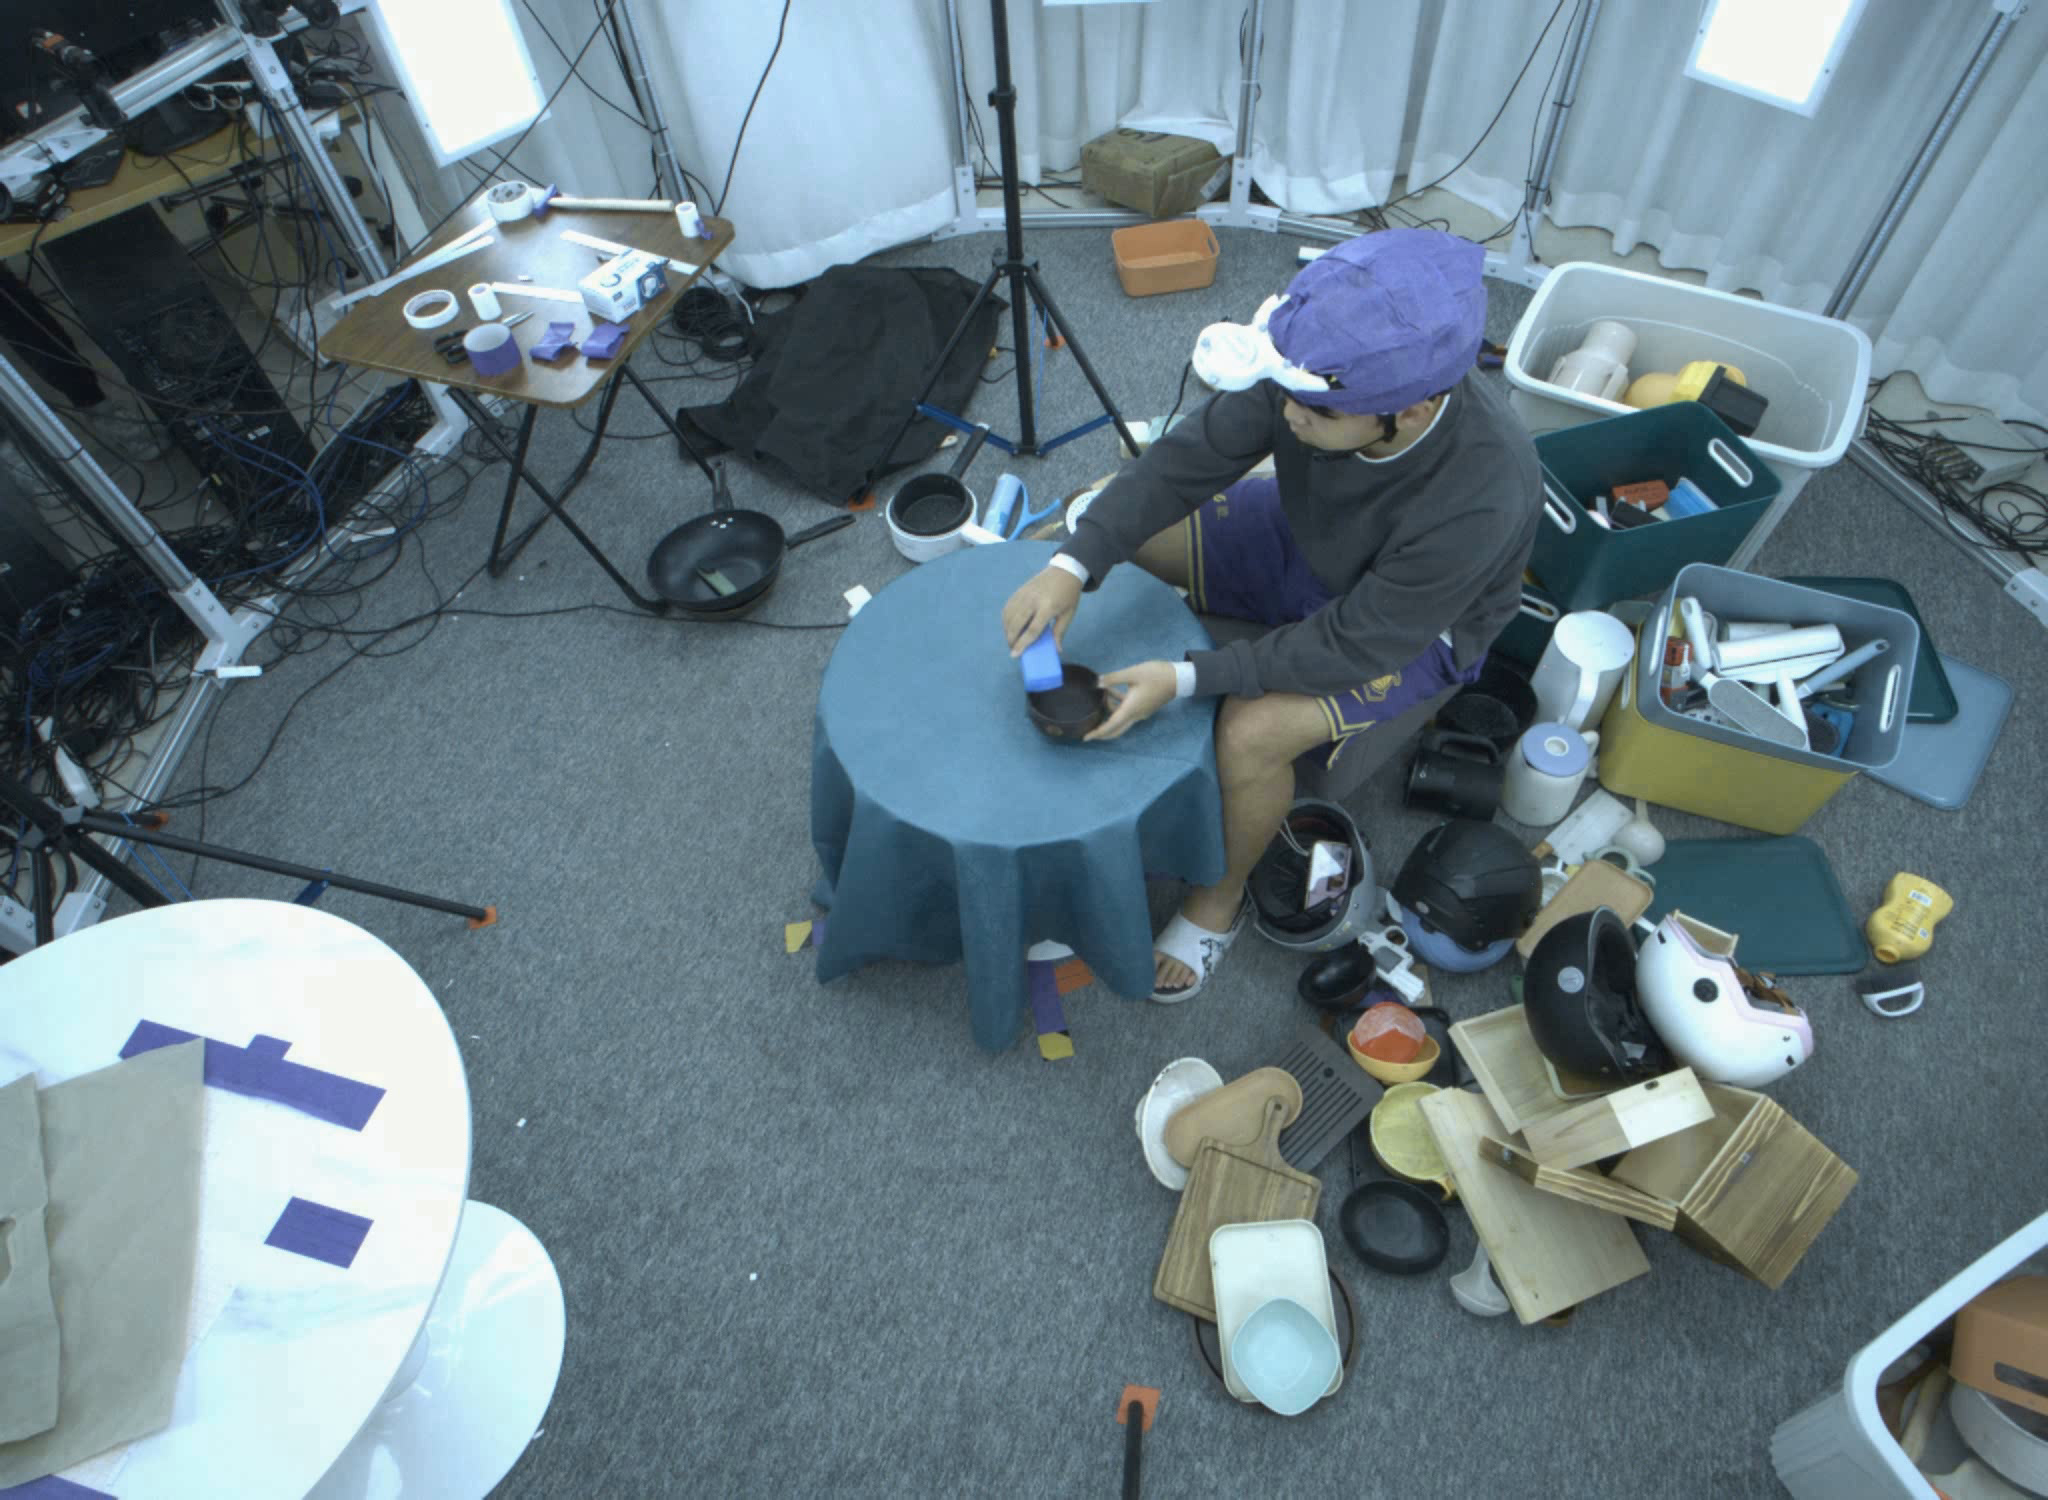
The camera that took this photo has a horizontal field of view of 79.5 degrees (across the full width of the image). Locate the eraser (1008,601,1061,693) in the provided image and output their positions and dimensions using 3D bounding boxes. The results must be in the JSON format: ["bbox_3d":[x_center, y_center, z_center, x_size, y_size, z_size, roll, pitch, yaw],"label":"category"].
[{"bbox_3d":[0.013,-0.155,1.789,0.054,0.048,0.160,-11,51,-3],"label":"eraser"}]

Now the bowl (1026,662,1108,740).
[{"bbox_3d":[0.062,-0.063,1.787,0.118,0.070,0.117,0,53,1],"label":"bowl"}]
